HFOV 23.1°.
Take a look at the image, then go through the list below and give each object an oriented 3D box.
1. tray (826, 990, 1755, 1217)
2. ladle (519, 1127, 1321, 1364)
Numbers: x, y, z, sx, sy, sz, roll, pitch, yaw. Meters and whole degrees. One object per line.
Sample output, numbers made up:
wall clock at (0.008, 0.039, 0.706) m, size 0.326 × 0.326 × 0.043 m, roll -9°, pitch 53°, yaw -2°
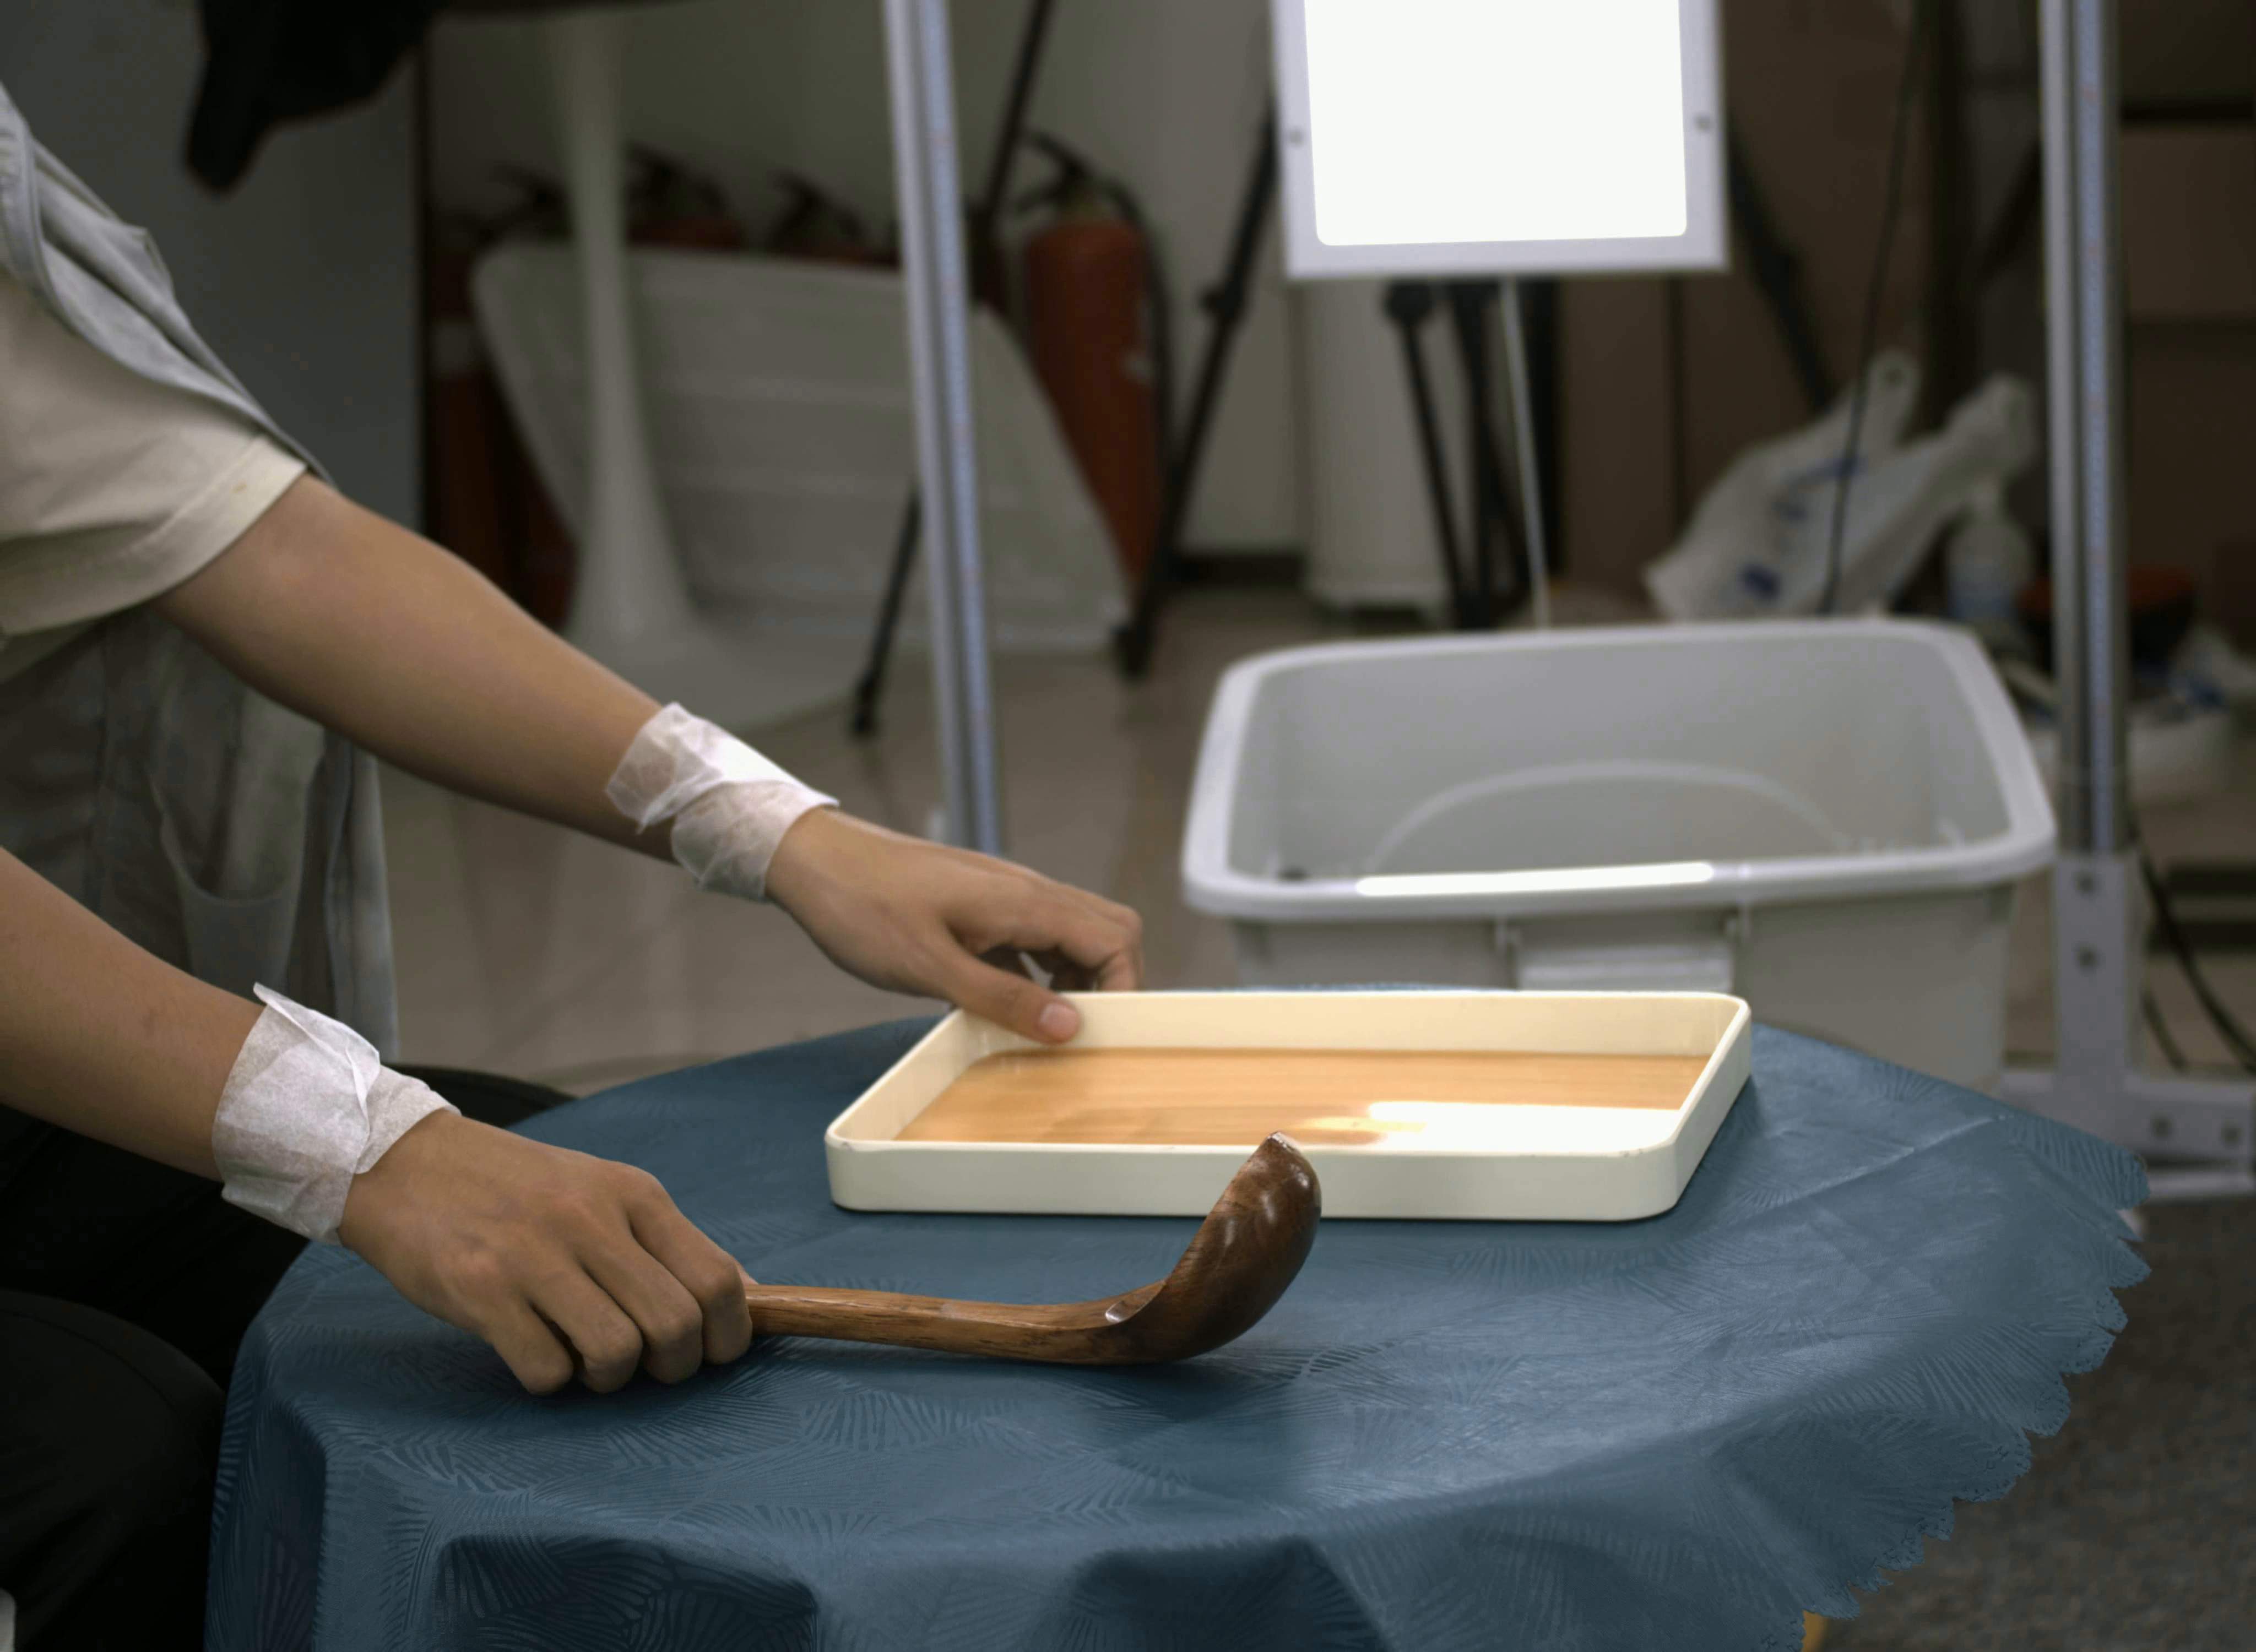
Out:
tray at (0.061, 0.096, 1.940) m, size 0.304 × 0.027 × 0.188 m, roll -1°, pitch 14°, yaw 19°
ladle at (-0.071, 0.130, 1.743) m, size 0.278 × 0.077 × 0.080 m, roll 0°, pitch 8°, yaw 22°
